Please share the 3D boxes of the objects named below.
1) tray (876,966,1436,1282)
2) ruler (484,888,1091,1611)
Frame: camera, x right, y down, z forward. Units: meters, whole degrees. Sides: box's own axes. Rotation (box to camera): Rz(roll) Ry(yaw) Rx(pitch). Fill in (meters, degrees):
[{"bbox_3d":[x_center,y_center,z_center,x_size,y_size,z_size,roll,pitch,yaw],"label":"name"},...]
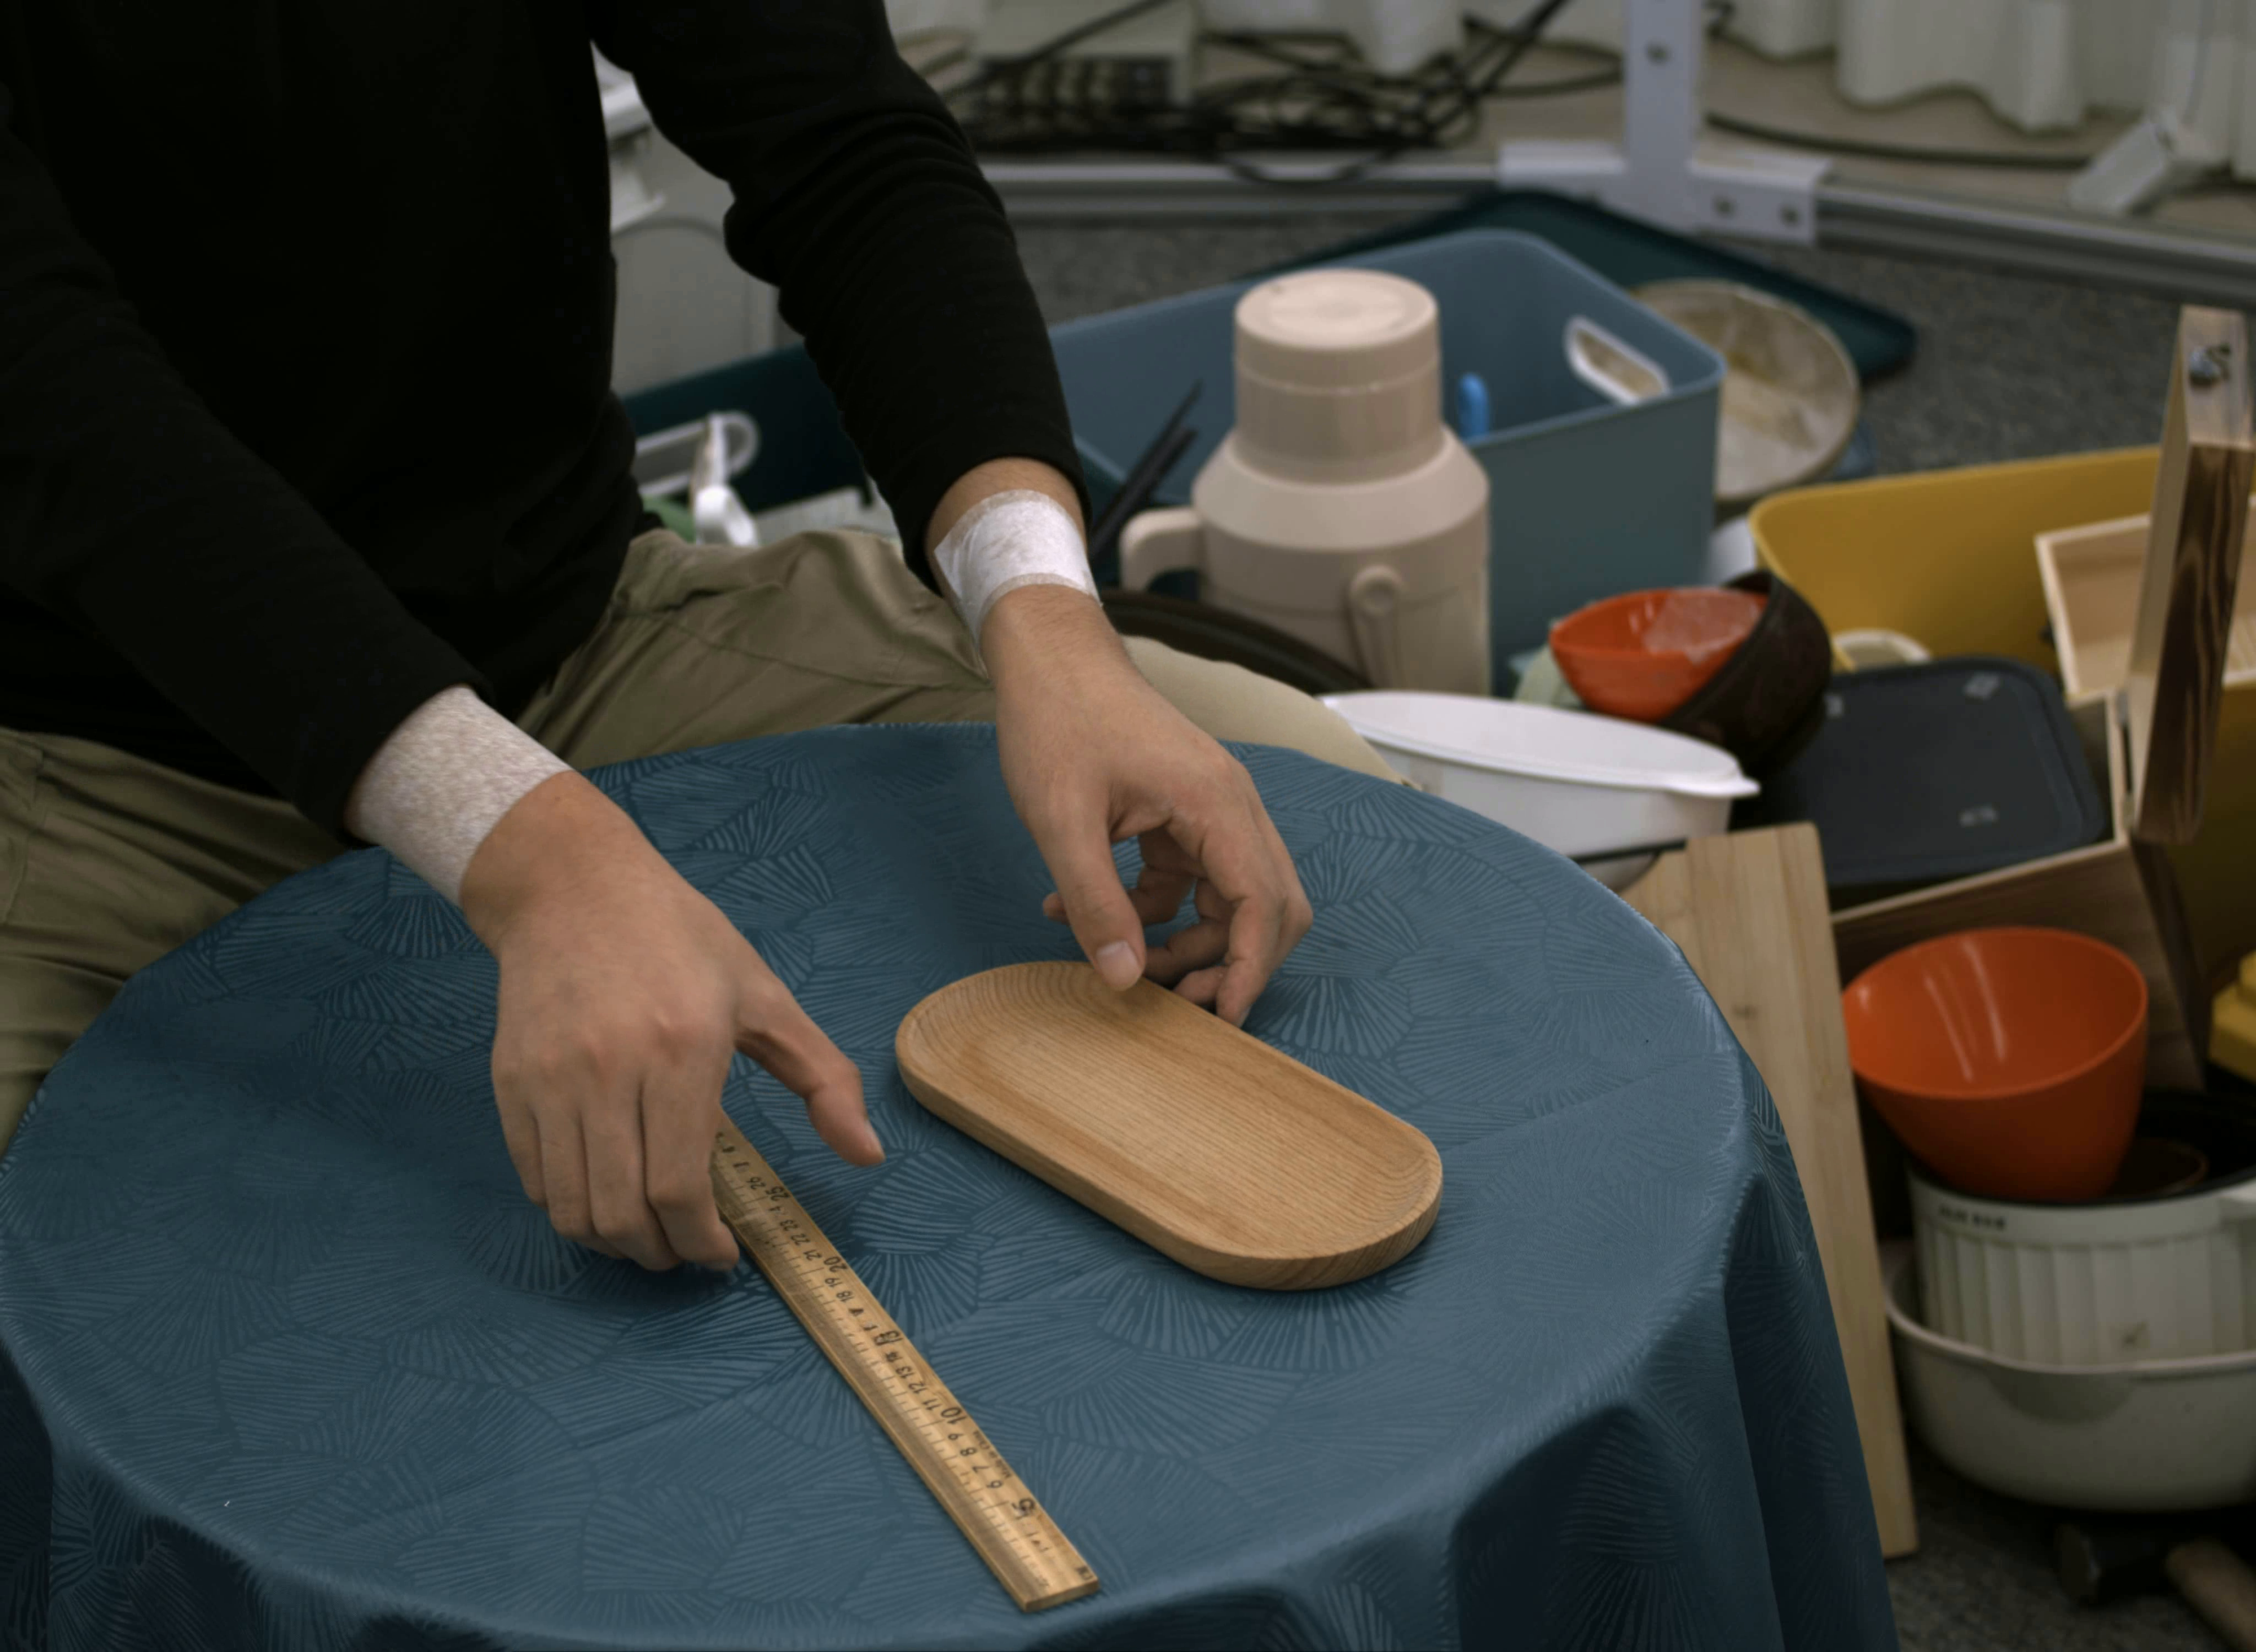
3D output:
[{"bbox_3d":[0.007,0.099,1.887,0.103,0.020,0.231,-23,31,-36],"label":"tray"},{"bbox_3d":[-0.123,0.127,1.858,0.027,0.006,0.504,-13,29,-21],"label":"ruler"}]
